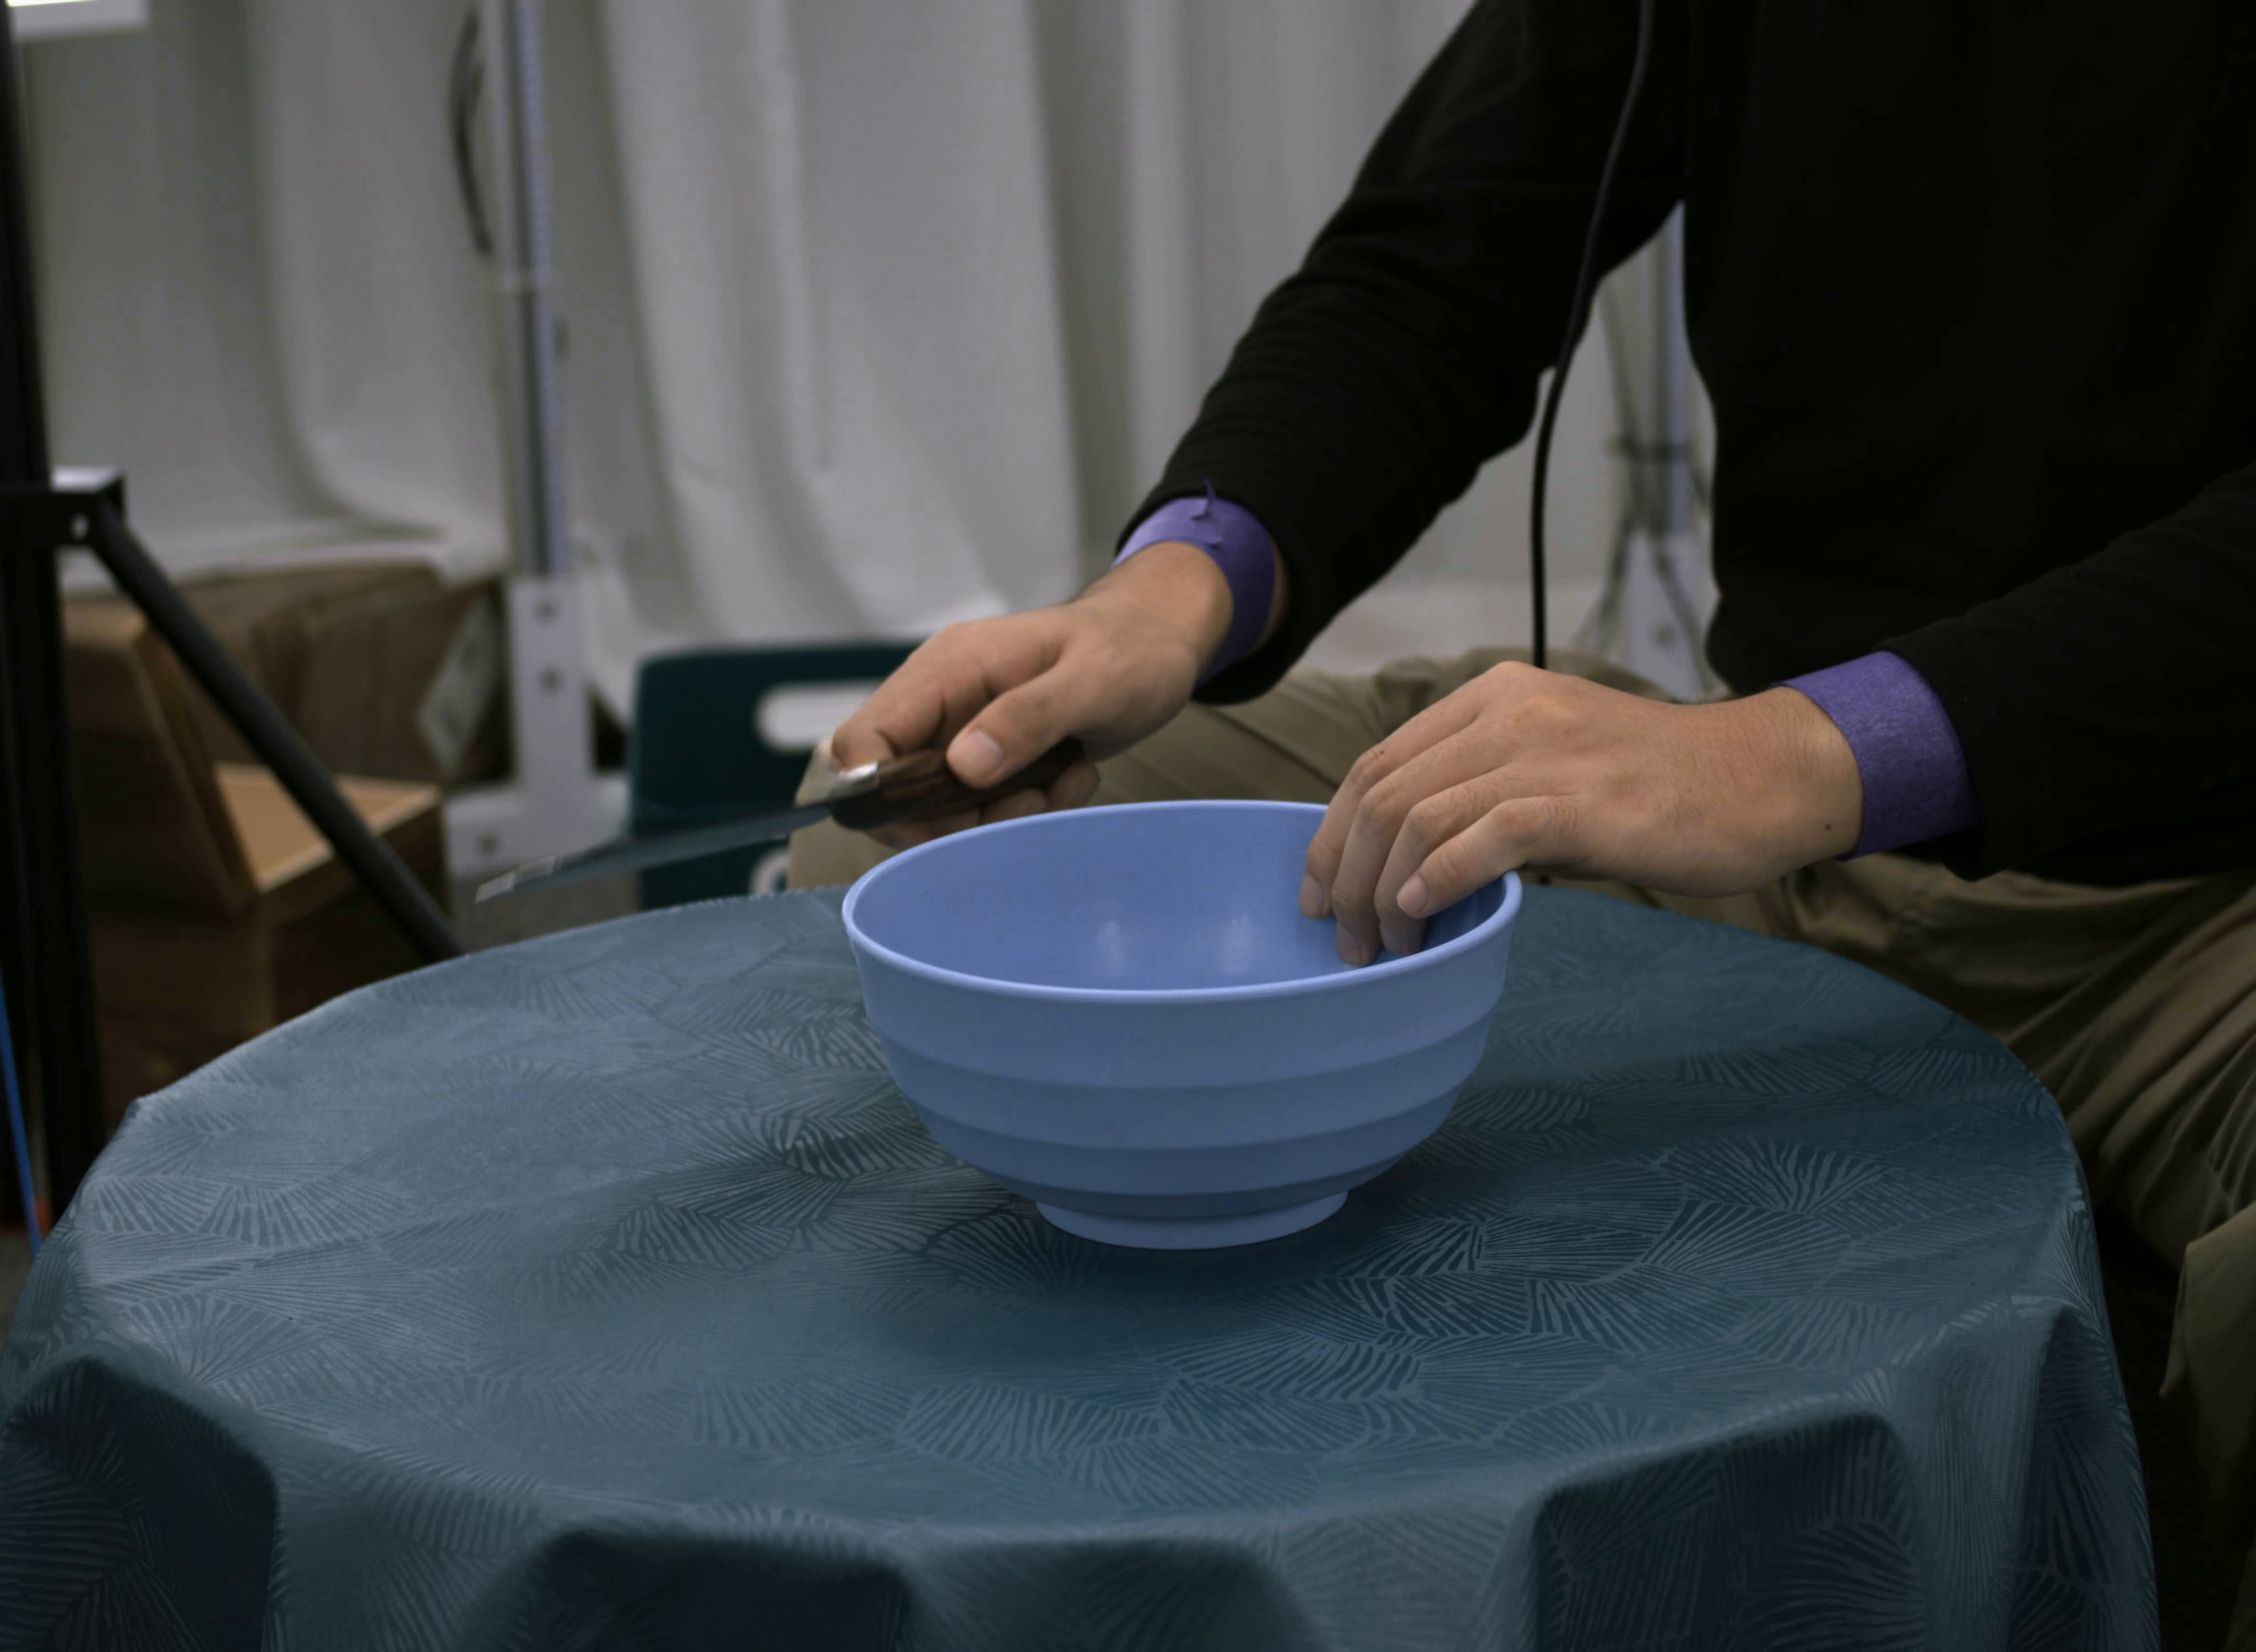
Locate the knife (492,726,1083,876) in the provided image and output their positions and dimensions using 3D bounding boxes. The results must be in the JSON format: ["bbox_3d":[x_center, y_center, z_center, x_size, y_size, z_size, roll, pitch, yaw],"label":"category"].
[{"bbox_3d":[-0.100,-0.006,1.638,0.051,0.020,0.283,-29,-9,34],"label":"knife"}]

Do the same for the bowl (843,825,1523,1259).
[{"bbox_3d":[0.016,0.067,1.537,0.195,0.095,0.197,-1,13,-1],"label":"bowl"}]
